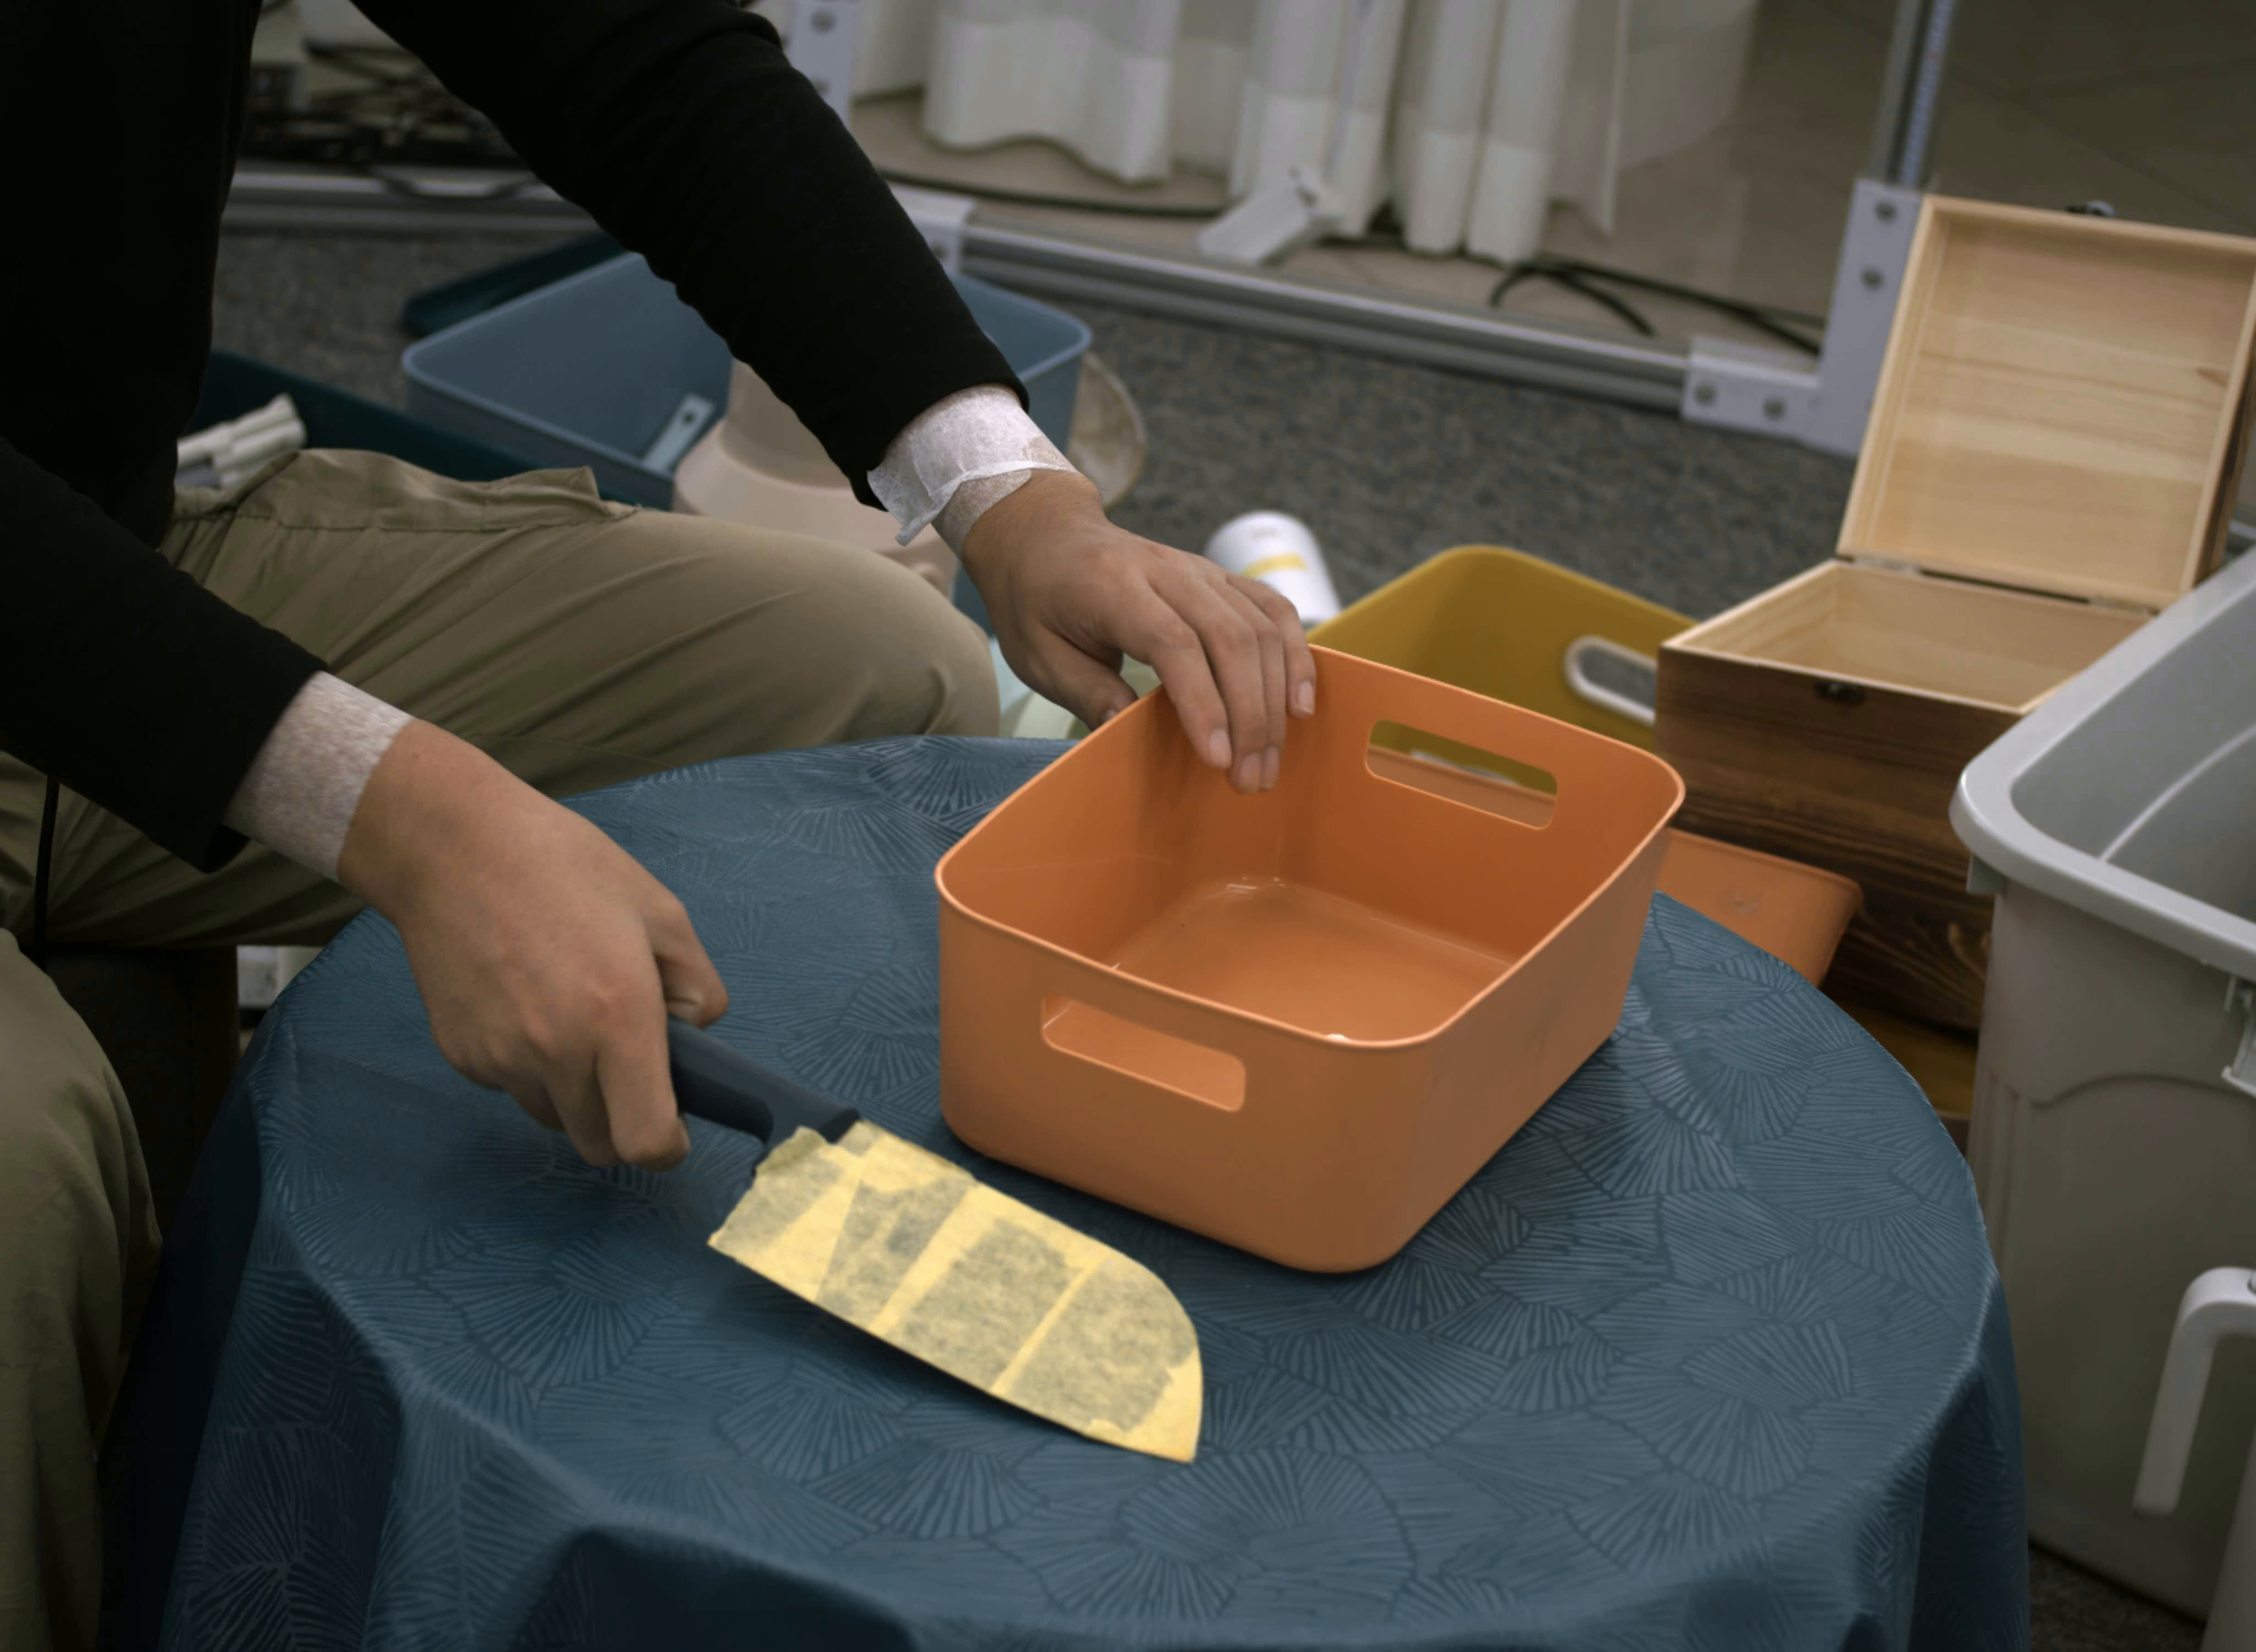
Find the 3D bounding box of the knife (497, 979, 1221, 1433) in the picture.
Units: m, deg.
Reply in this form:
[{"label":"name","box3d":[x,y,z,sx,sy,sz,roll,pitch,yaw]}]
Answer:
[{"label":"knife","box3d":[-0.093,0.123,1.721,0.291,0.027,0.081,27,43,21]}]

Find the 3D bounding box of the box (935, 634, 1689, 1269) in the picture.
[{"label":"box","box3d":[0.061,0.042,1.861,0.200,0.102,0.273,19,30,22]}]
